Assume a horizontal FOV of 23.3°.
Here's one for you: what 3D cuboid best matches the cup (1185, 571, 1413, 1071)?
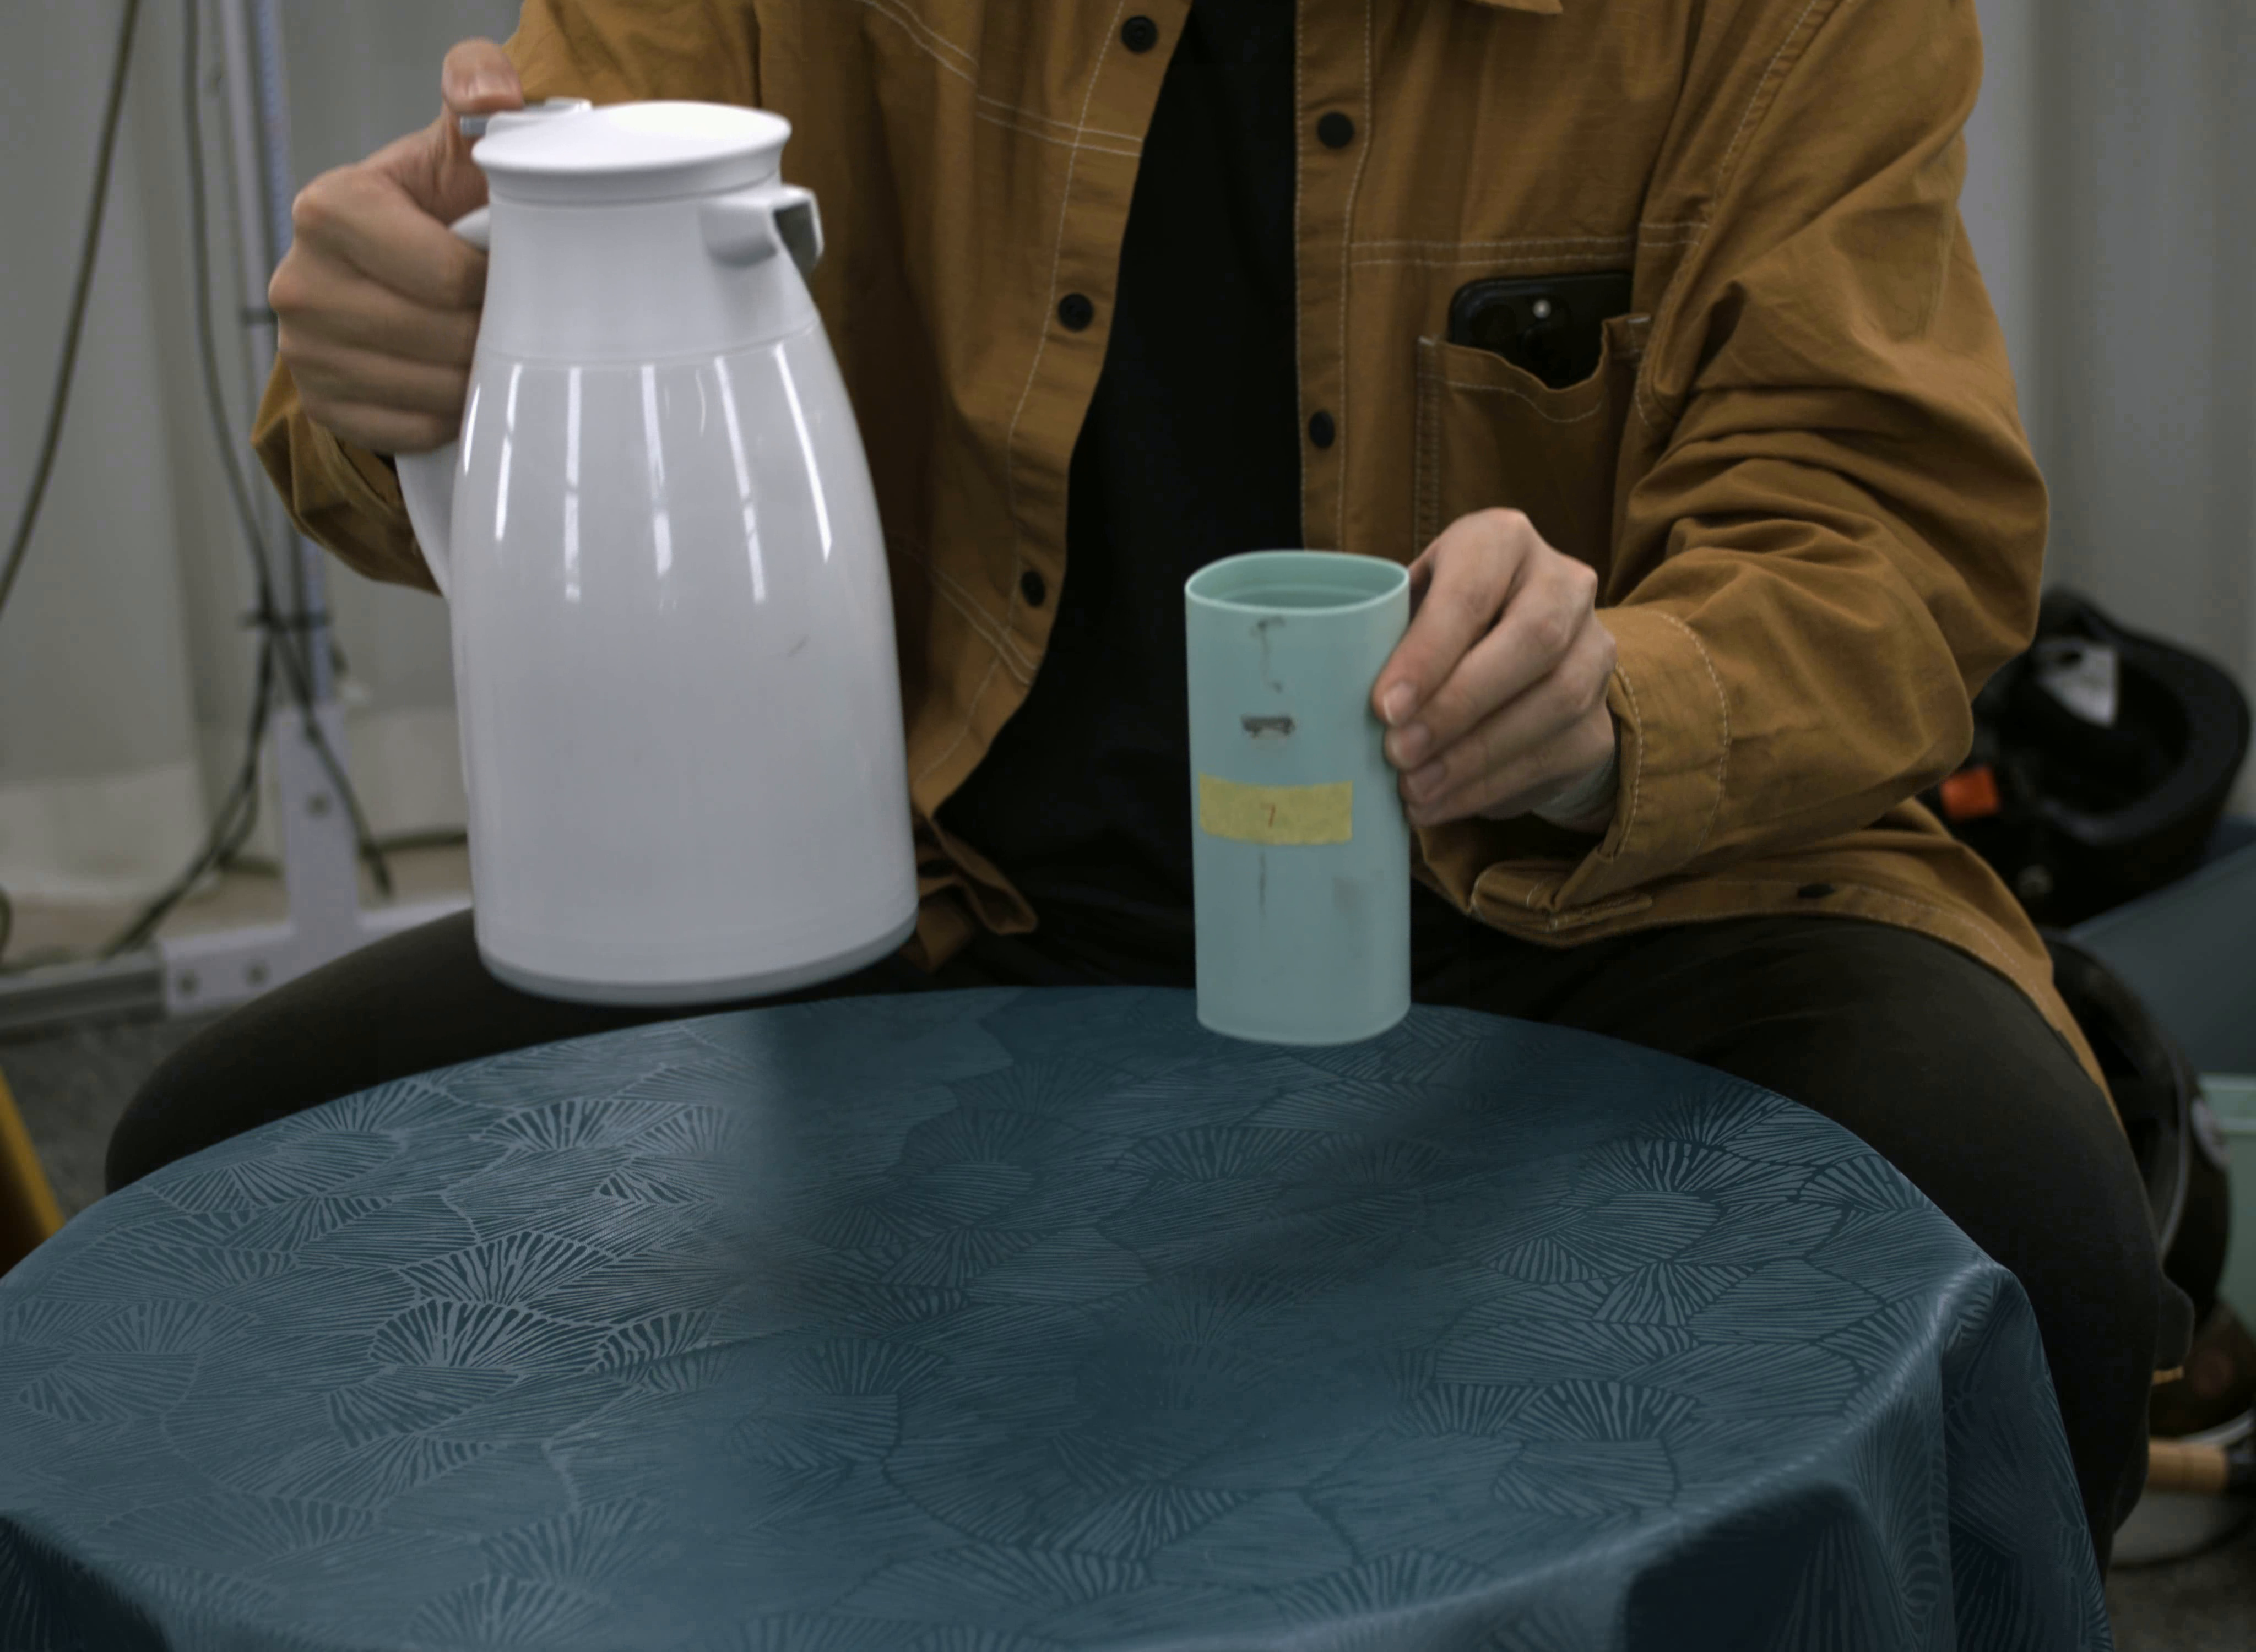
[{"bbox_3d":[0.050,-0.003,1.577,0.066,0.131,0.067,-1,17,0],"label":"cup"}]

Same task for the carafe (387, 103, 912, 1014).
[{"bbox_3d":[-0.151,-0.085,1.604,0.168,0.247,0.132,9,19,39],"label":"carafe"}]
